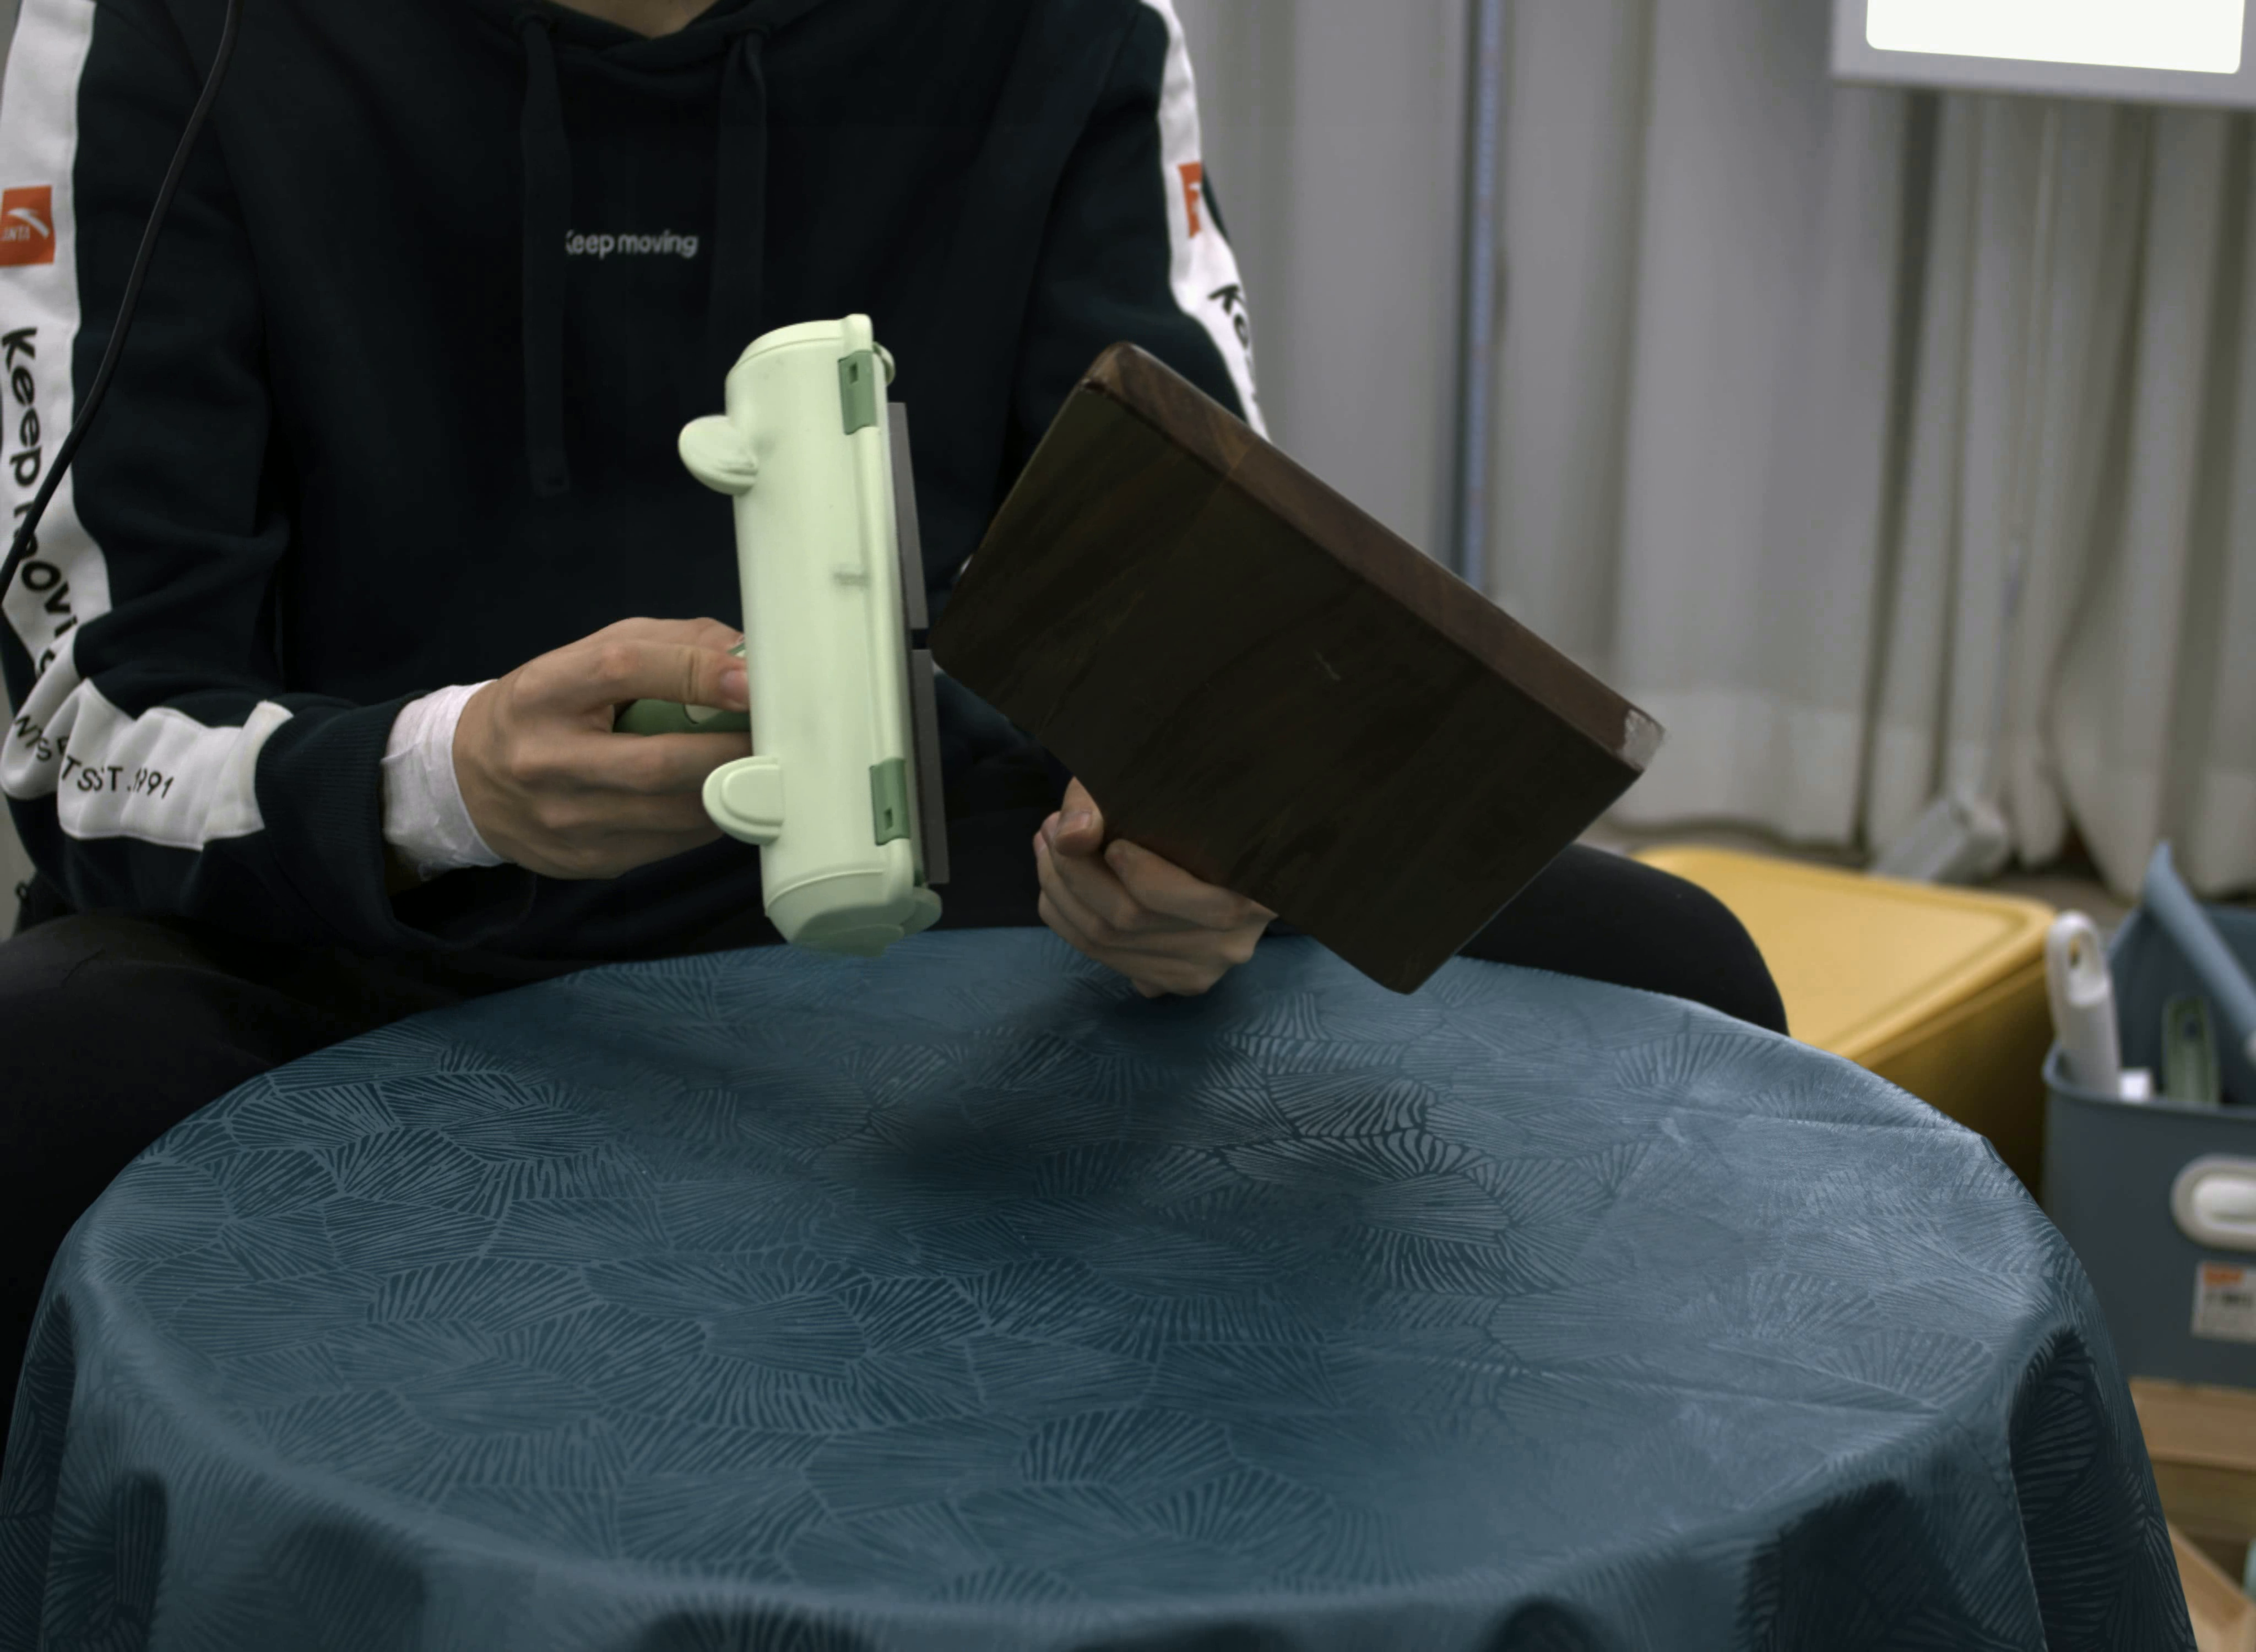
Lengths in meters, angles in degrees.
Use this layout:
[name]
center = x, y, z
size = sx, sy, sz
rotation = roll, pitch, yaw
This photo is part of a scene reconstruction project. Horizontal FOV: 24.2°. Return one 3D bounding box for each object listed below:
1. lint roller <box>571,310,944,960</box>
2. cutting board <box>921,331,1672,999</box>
[lint roller]
center = -0.136, -0.043, 1.646
size = 0.182, 0.198, 0.083
rotation = -23, -25, 39
[cutting board]
center = 0.033, -0.027, 1.639
size = 0.201, 0.023, 0.352
rotation = 36, -22, -1
